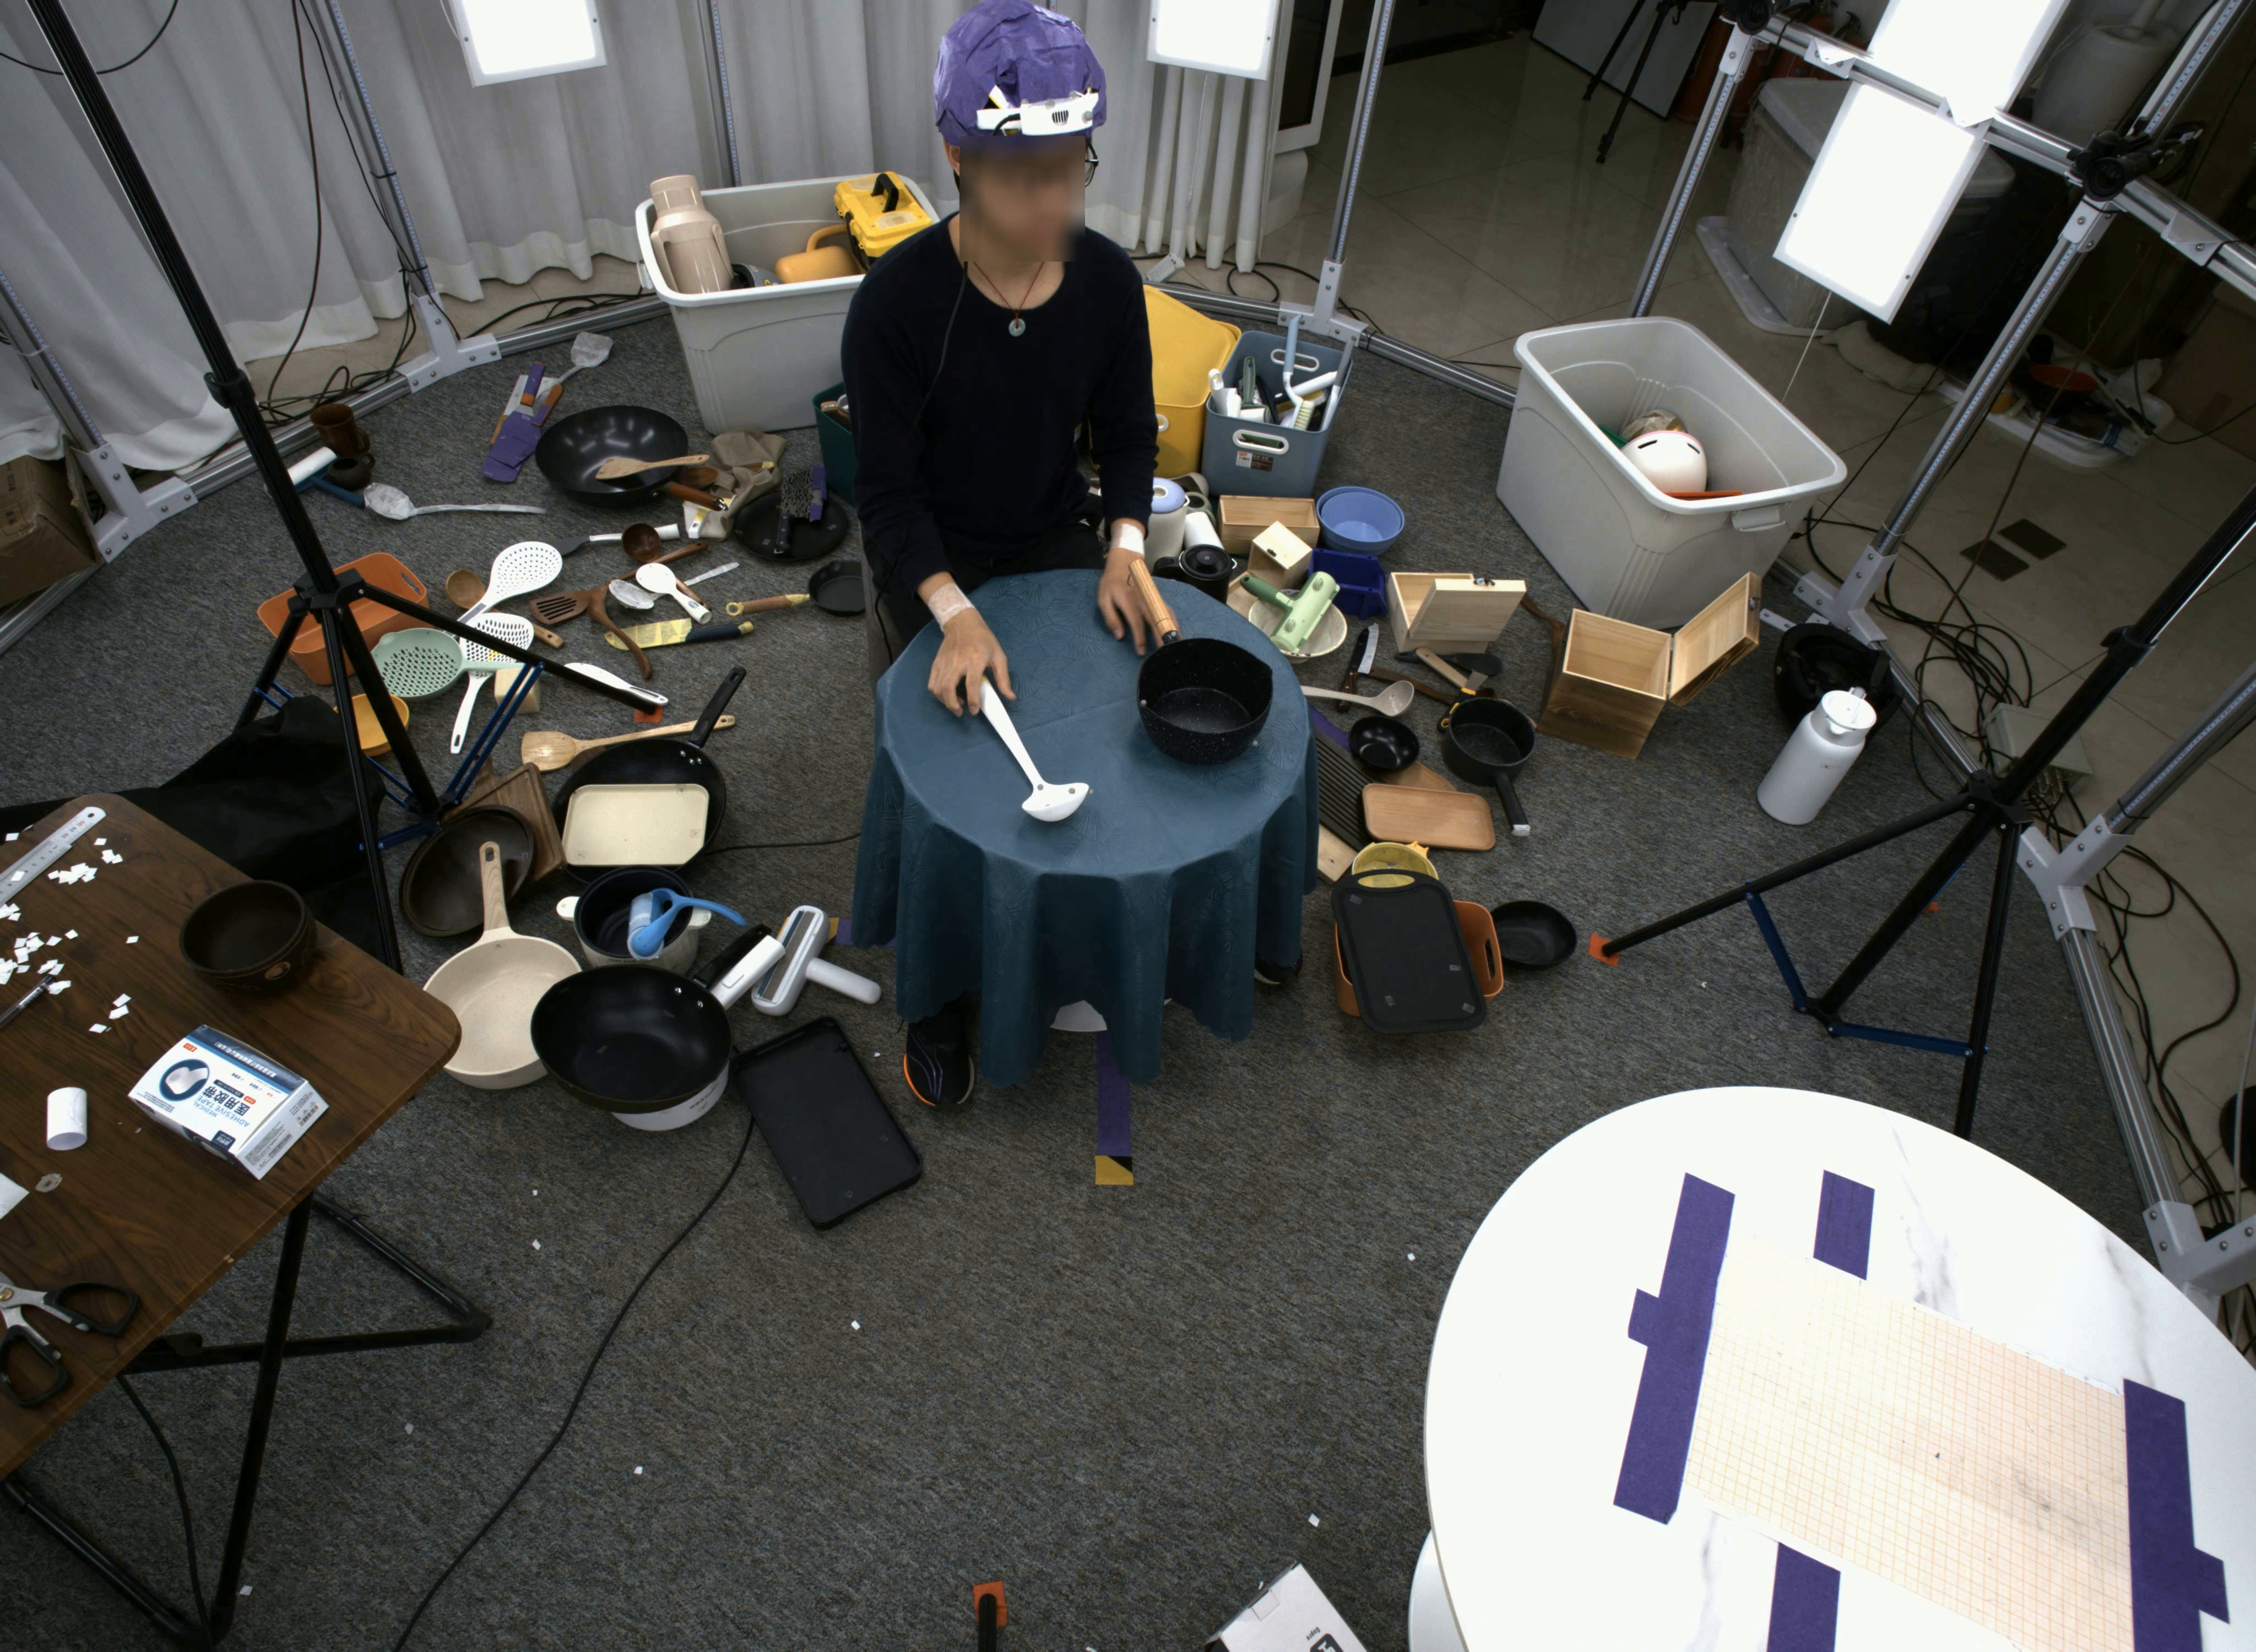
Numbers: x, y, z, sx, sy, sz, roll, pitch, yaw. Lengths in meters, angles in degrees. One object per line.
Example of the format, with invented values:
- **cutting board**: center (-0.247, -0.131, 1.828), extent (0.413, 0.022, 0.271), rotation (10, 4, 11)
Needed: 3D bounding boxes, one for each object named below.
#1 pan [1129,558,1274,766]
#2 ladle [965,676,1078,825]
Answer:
- **pan**: center (0.071, -0.231, 1.805), extent (0.207, 0.105, 0.350), rotation (-17, 54, -16)
- **ladle**: center (-0.154, -0.109, 1.712), extent (0.090, 0.068, 0.299), rotation (-26, 54, -9)
